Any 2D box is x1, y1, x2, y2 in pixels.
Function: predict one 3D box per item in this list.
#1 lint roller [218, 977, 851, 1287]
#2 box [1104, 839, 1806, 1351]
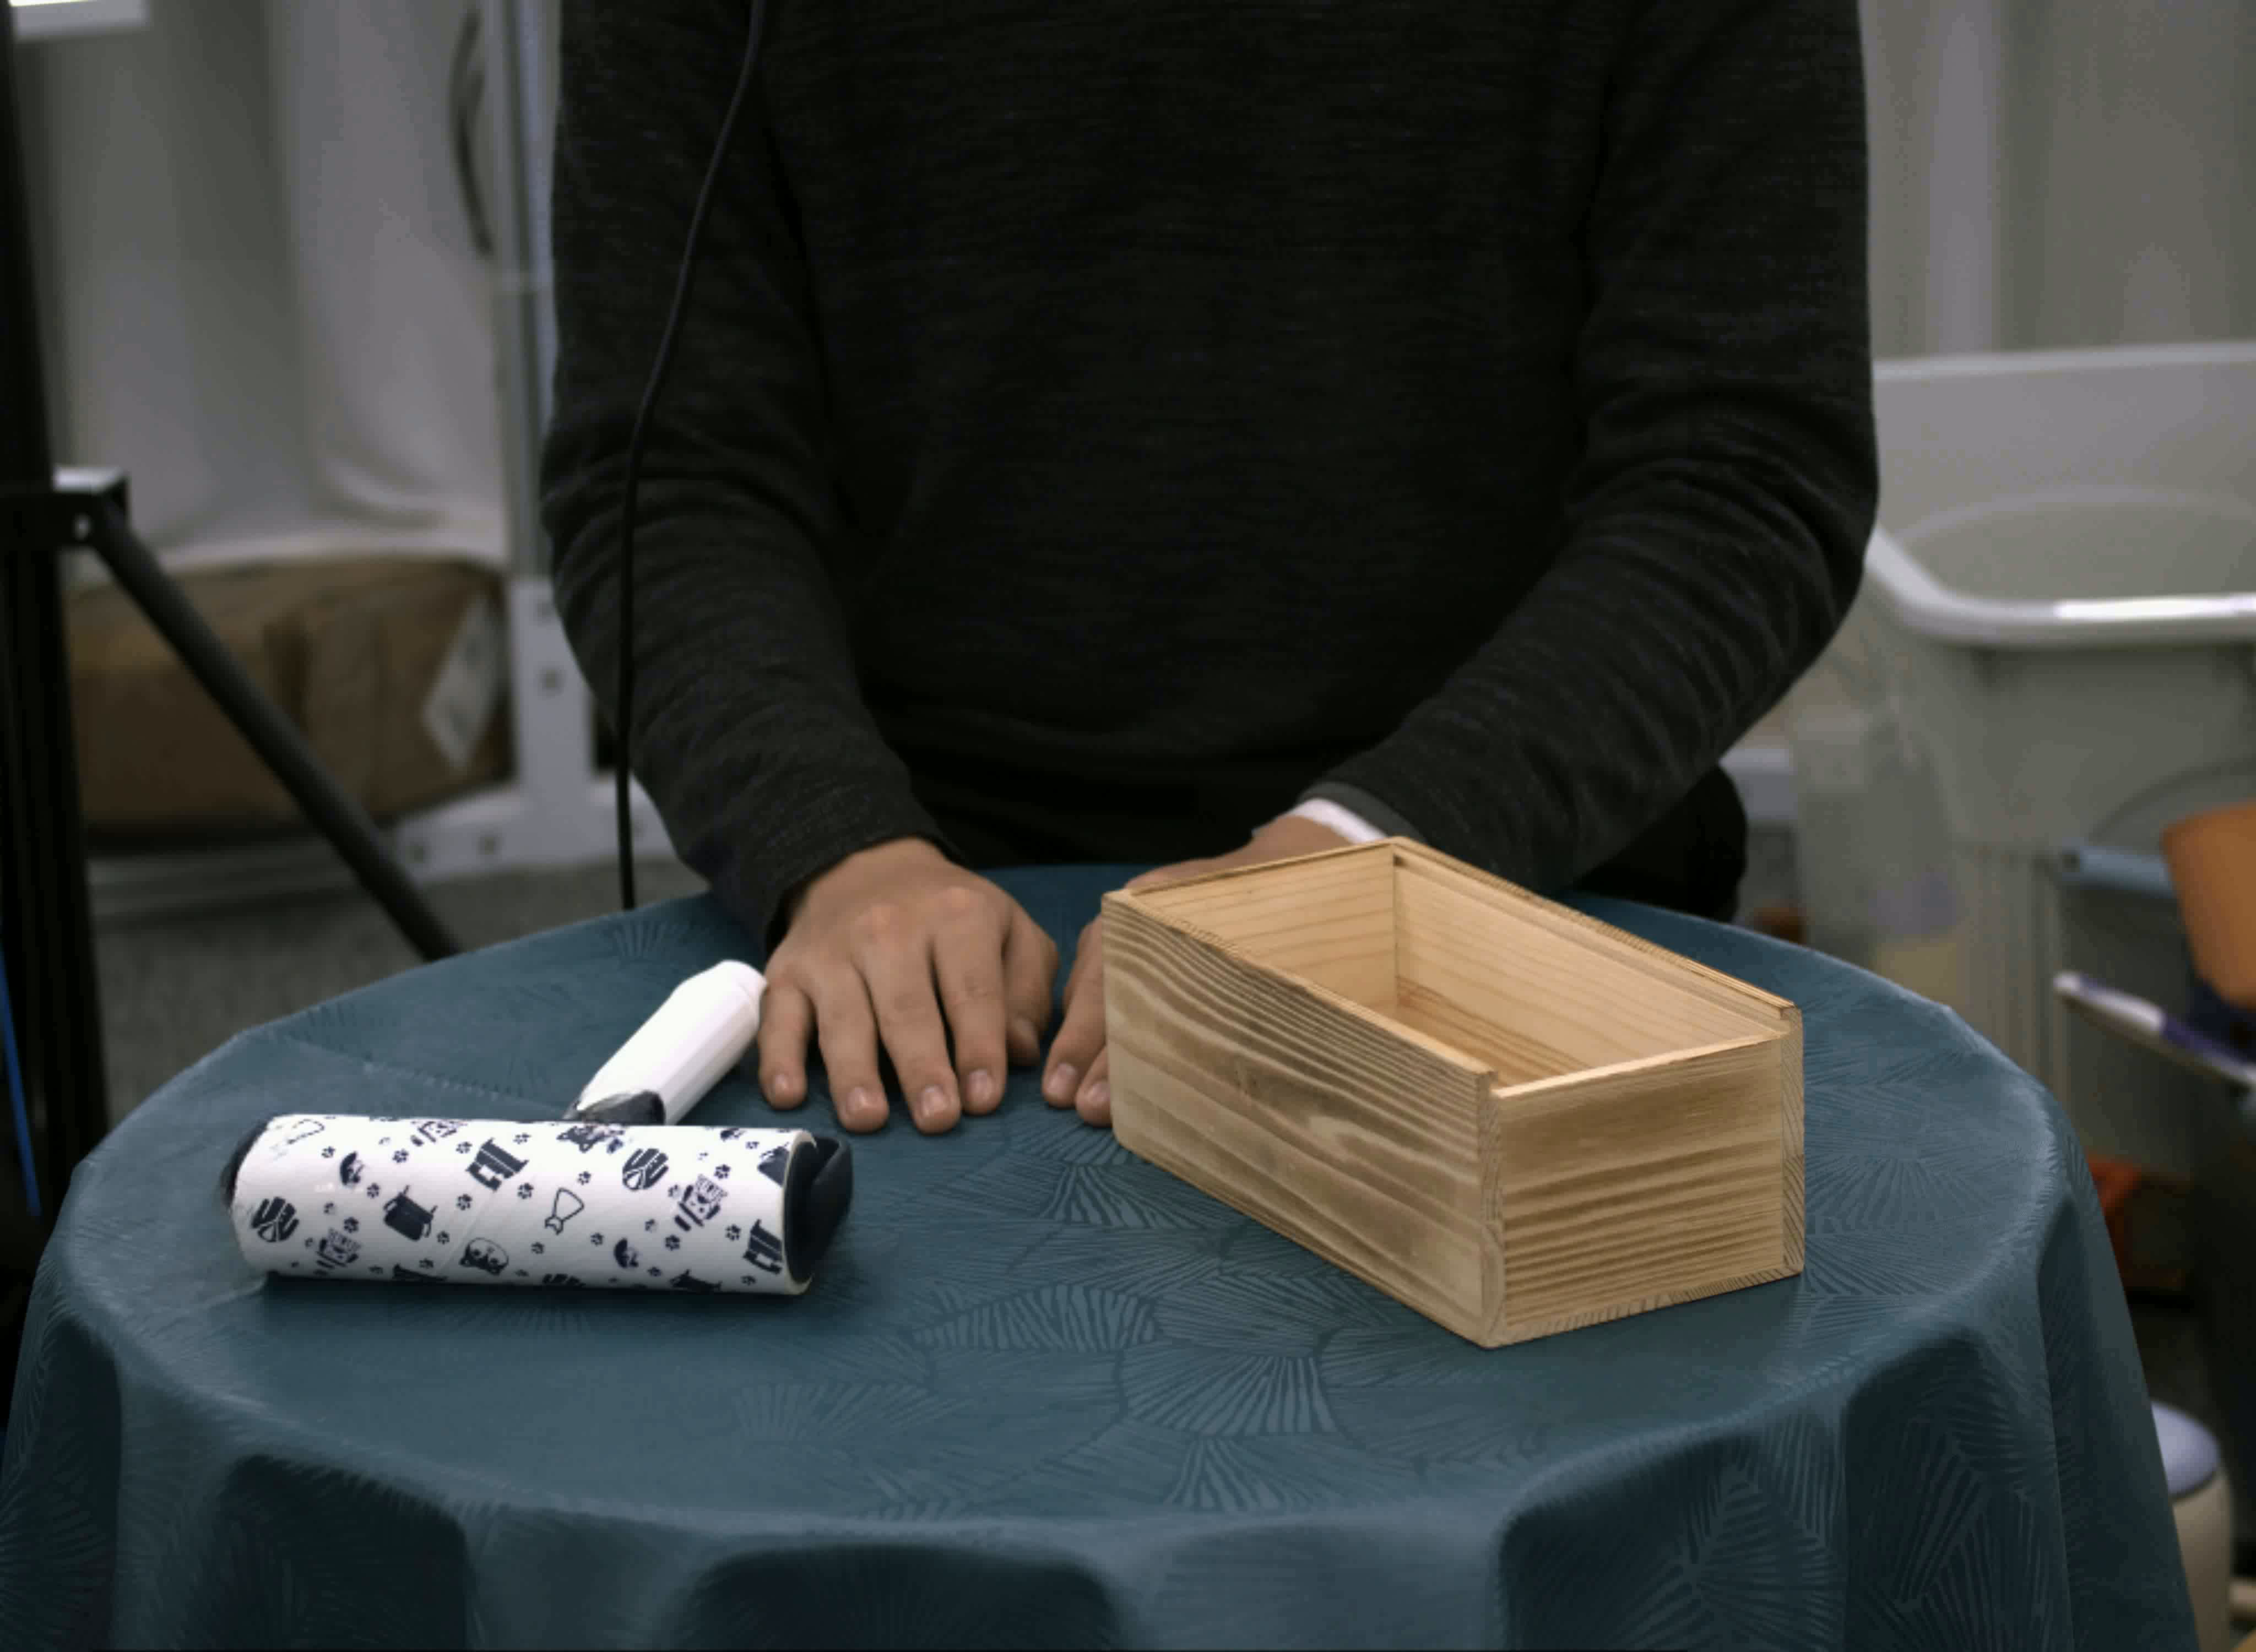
[{"bbox_3d":[-0.151,0.081,1.599,0.177,0.050,0.246,0,15,12],"label":"lint roller"},{"bbox_3d":[0.090,0.073,1.521,0.105,0.080,0.216,-10,17,-27],"label":"box"}]
